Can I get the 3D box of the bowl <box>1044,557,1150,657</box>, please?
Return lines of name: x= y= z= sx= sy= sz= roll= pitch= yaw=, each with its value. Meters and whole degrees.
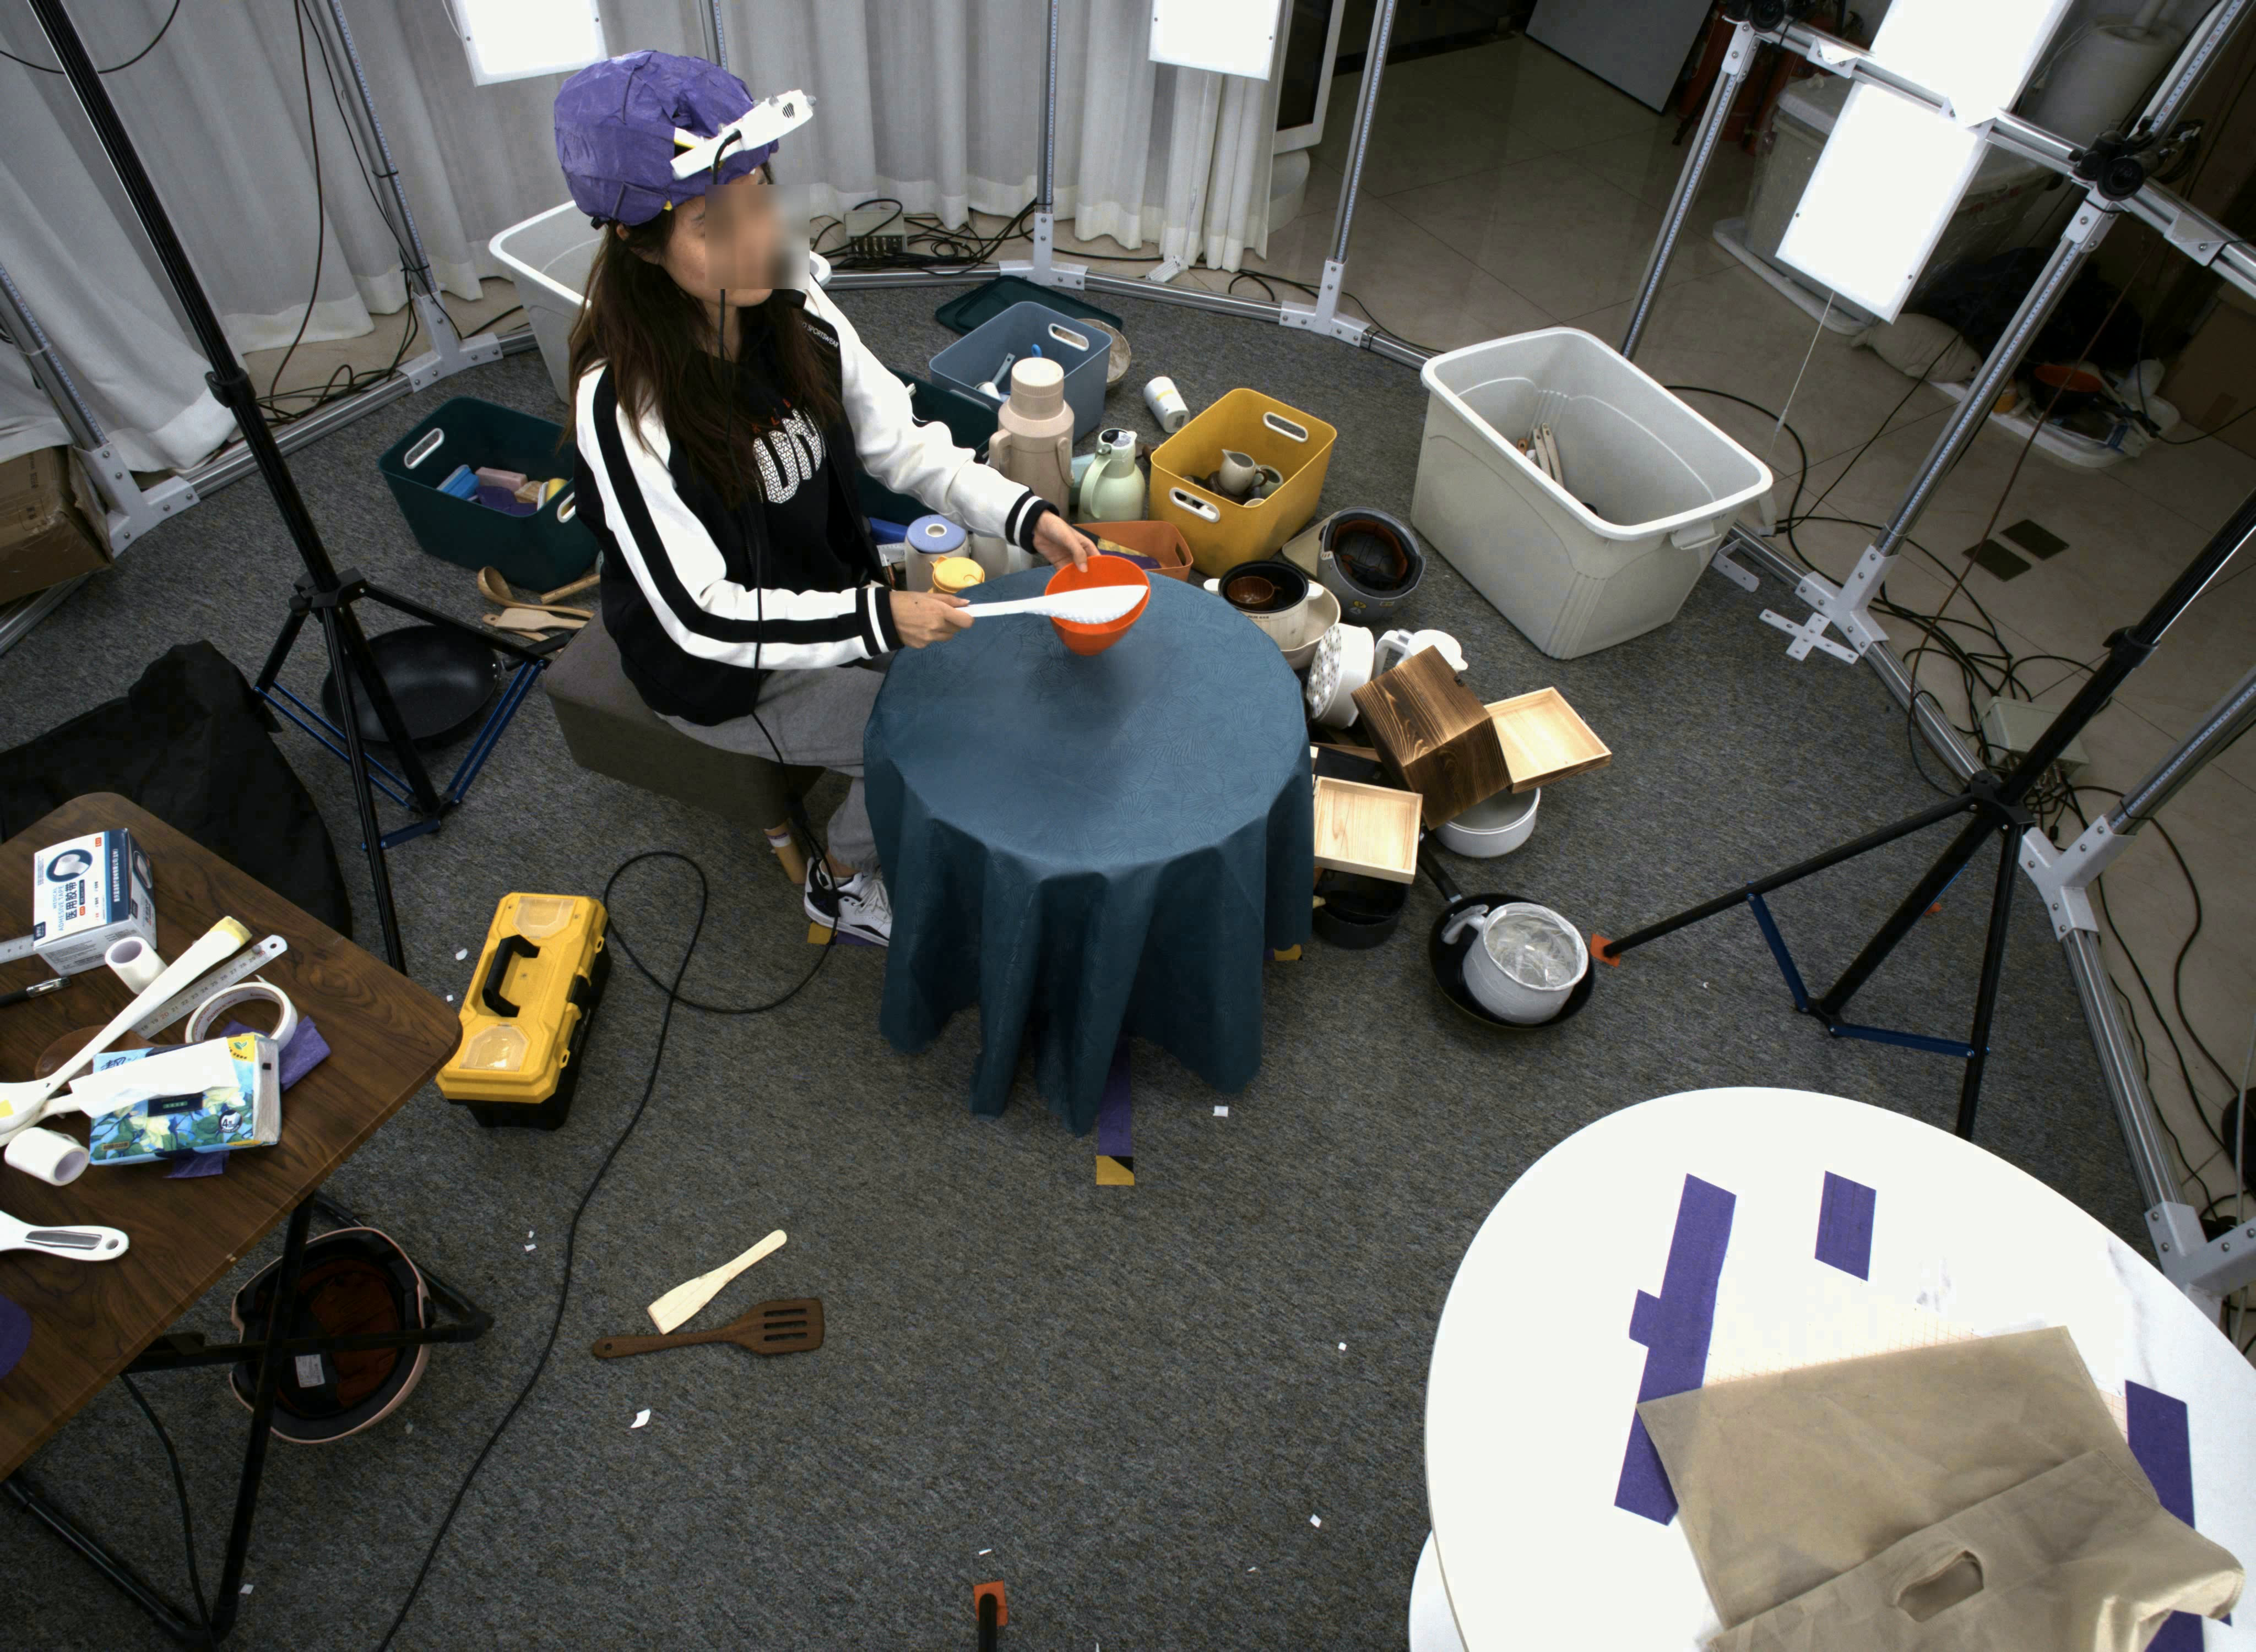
bowl: x=-0.045 y=-0.300 z=1.830 sx=0.148 sy=0.102 sz=0.151 roll=1 pitch=57 yaw=-2

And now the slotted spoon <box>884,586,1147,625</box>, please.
slotted spoon: x=-0.148 y=-0.288 z=1.689 sx=0.350 sy=0.045 sz=0.137 roll=1 pitch=15 yaw=7
